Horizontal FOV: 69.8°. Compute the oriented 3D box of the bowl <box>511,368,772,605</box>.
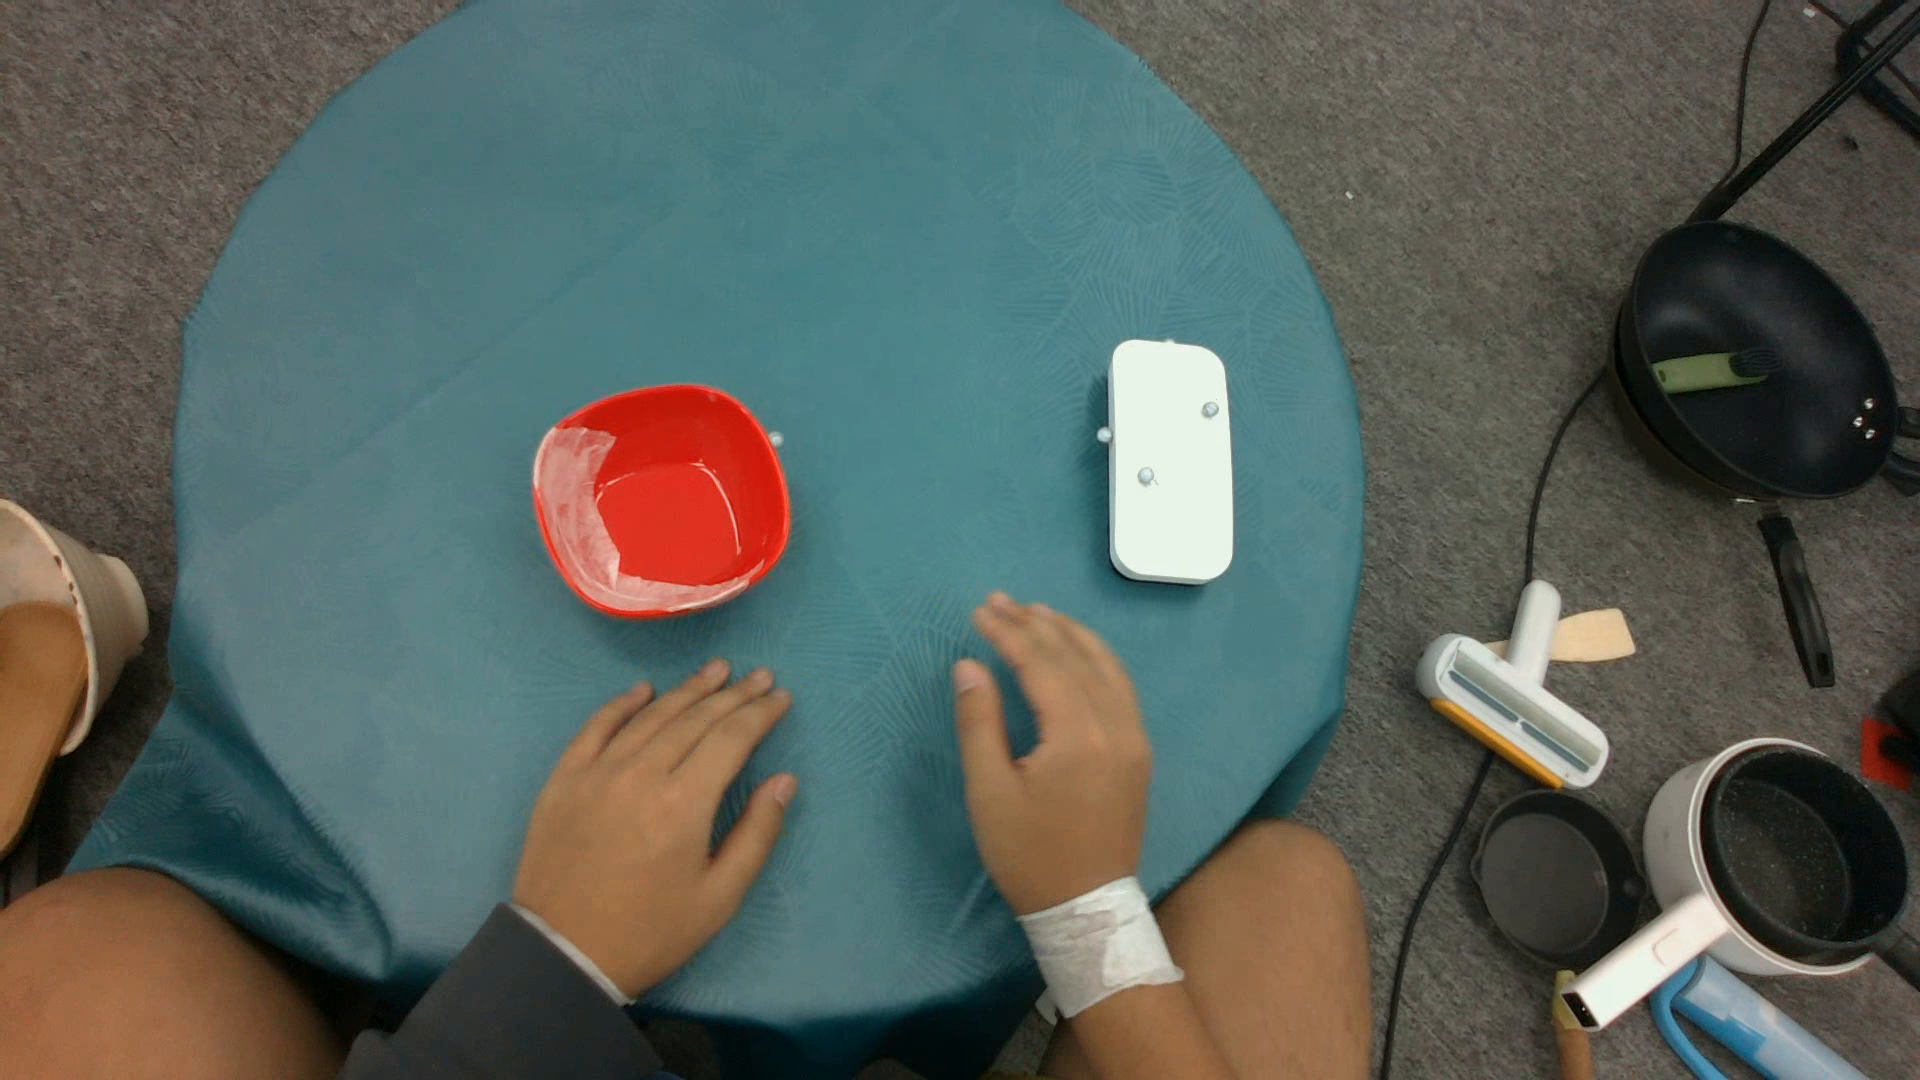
[{"bbox_3d":[-0.147,-0.018,0.643,0.119,0.051,0.119,4,68,-10],"label":"bowl"}]

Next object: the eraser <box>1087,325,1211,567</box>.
[{"bbox_3d":[0.094,-0.050,0.710,0.063,0.034,0.132,6,66,-7],"label":"eraser"}]
